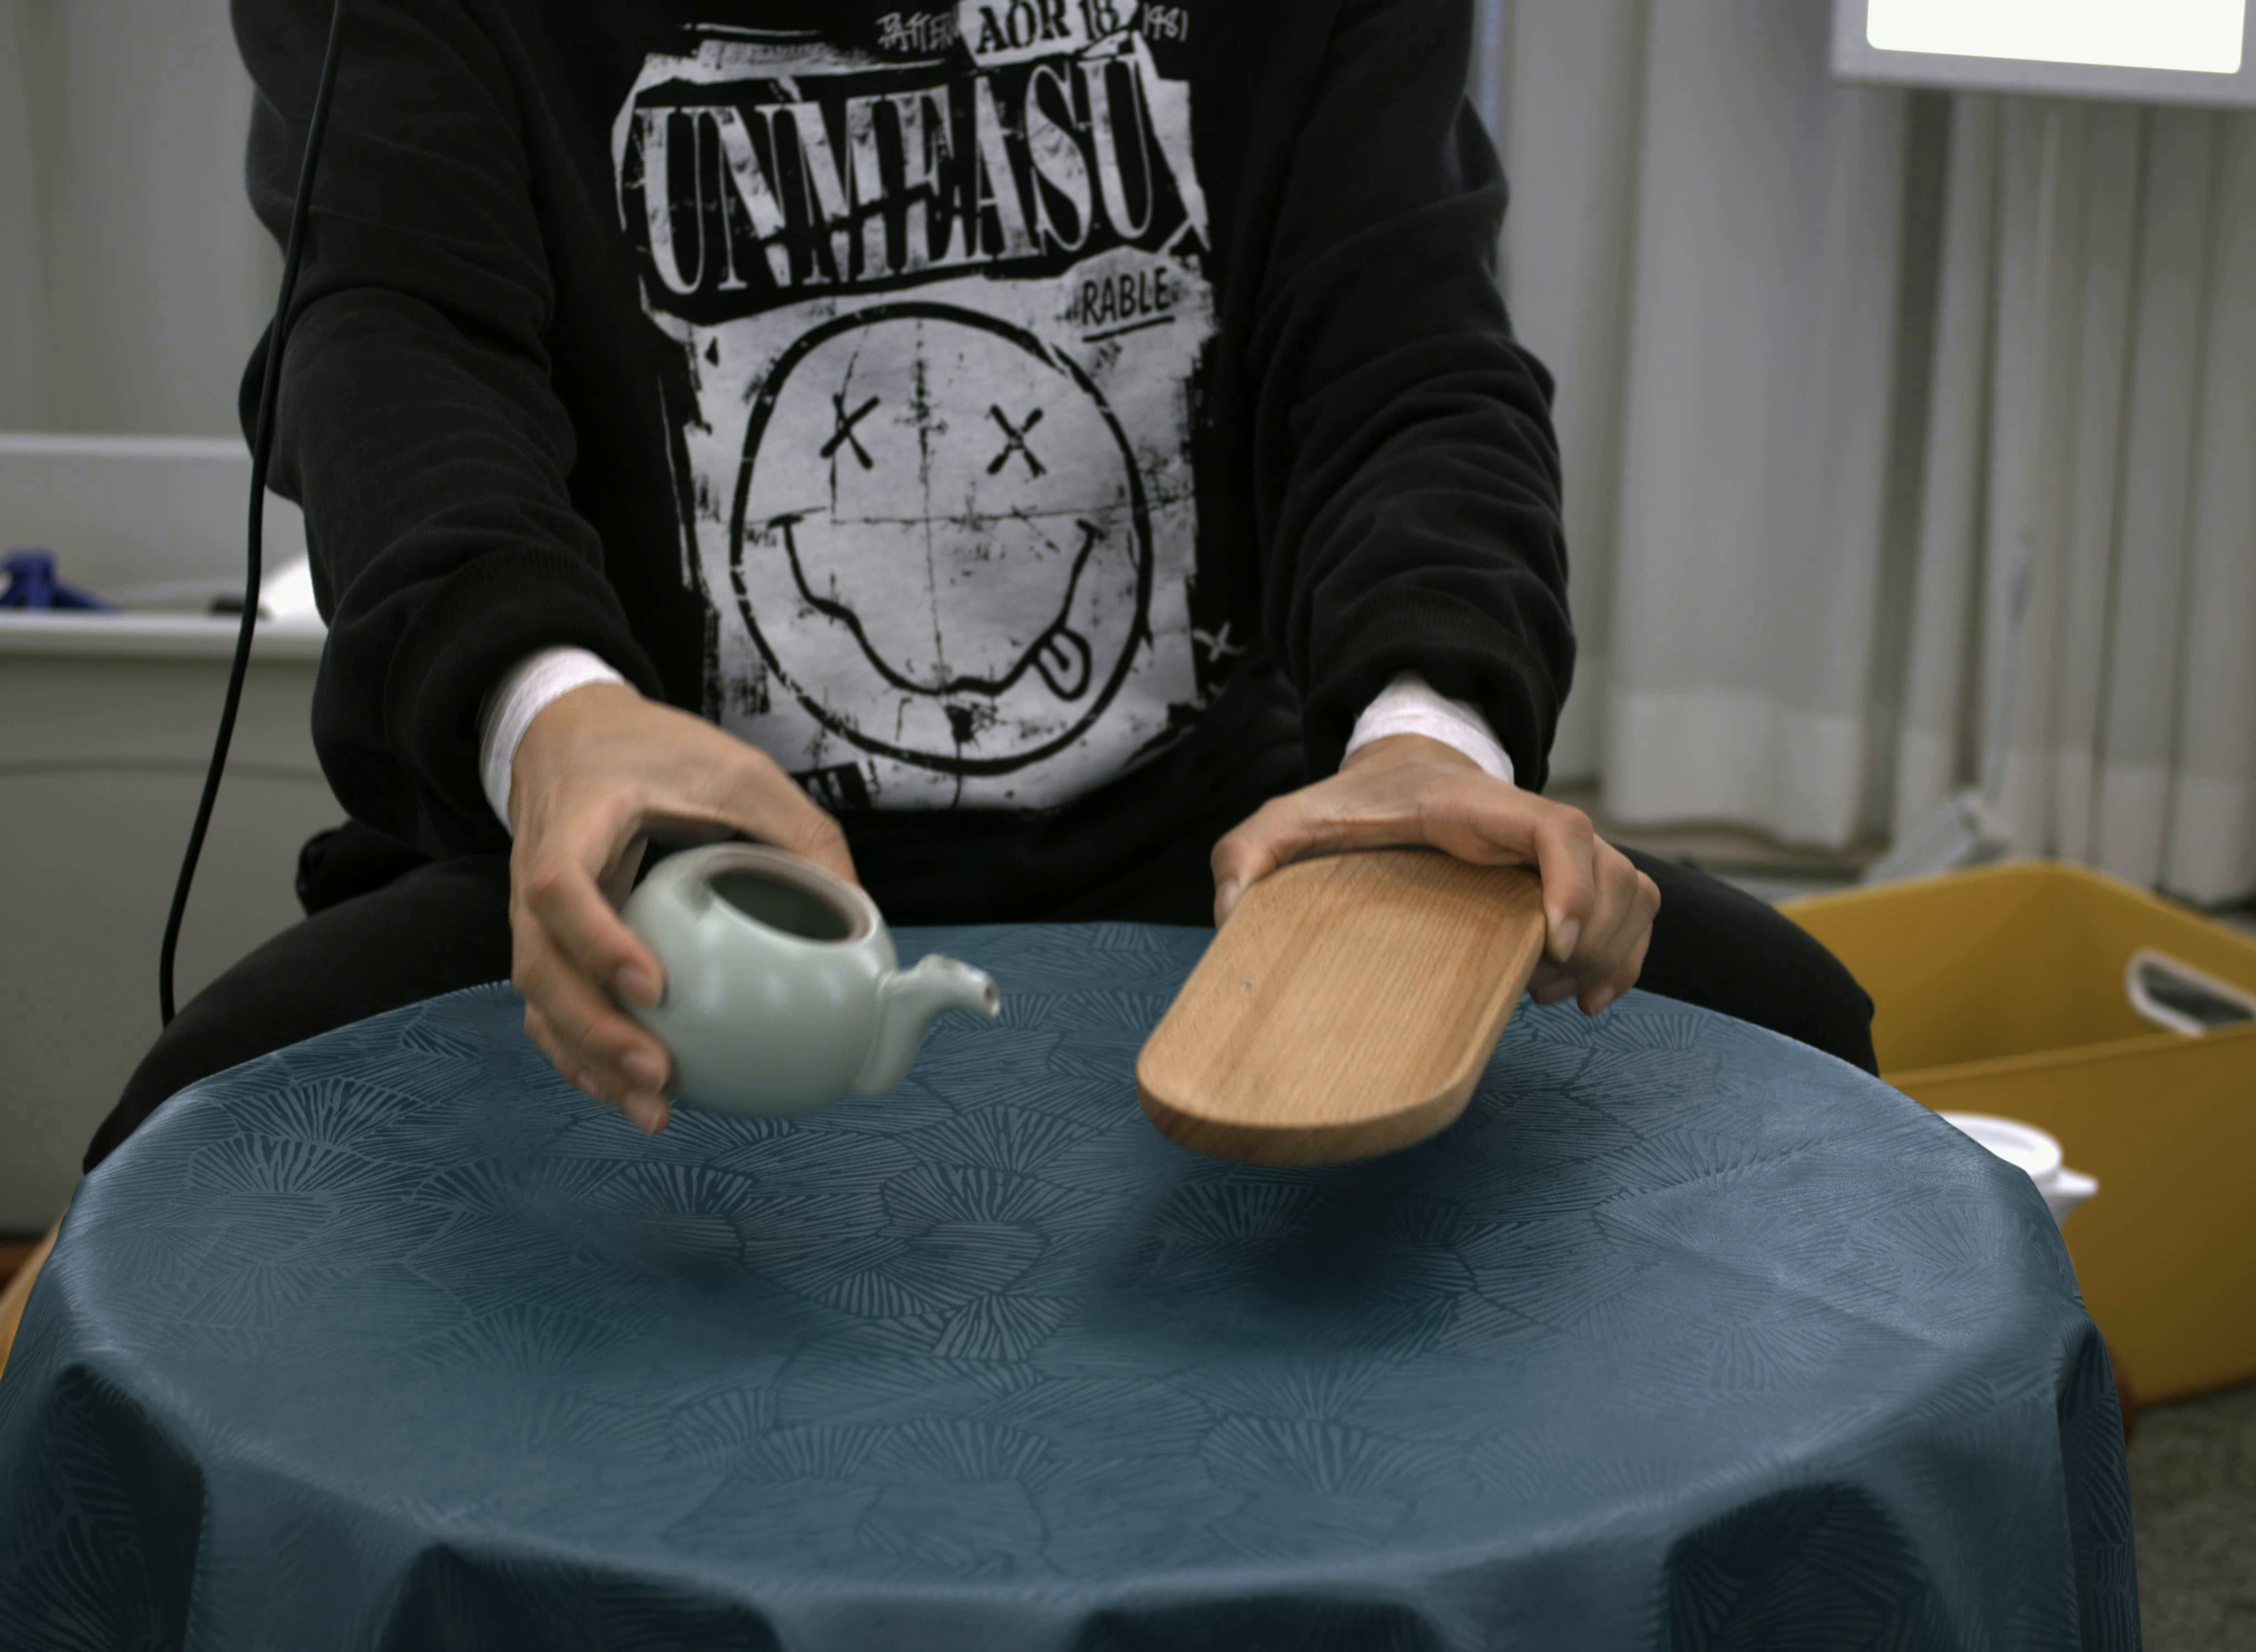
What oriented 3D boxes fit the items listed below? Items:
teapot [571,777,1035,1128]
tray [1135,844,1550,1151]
[{"bbox_3d":[-0.102,0.046,1.540,0.143,0.075,0.088,28,22,9],"label":"teapot"},{"bbox_3d":[0.068,0.050,1.612,0.101,0.020,0.231,4,19,13],"label":"tray"}]
